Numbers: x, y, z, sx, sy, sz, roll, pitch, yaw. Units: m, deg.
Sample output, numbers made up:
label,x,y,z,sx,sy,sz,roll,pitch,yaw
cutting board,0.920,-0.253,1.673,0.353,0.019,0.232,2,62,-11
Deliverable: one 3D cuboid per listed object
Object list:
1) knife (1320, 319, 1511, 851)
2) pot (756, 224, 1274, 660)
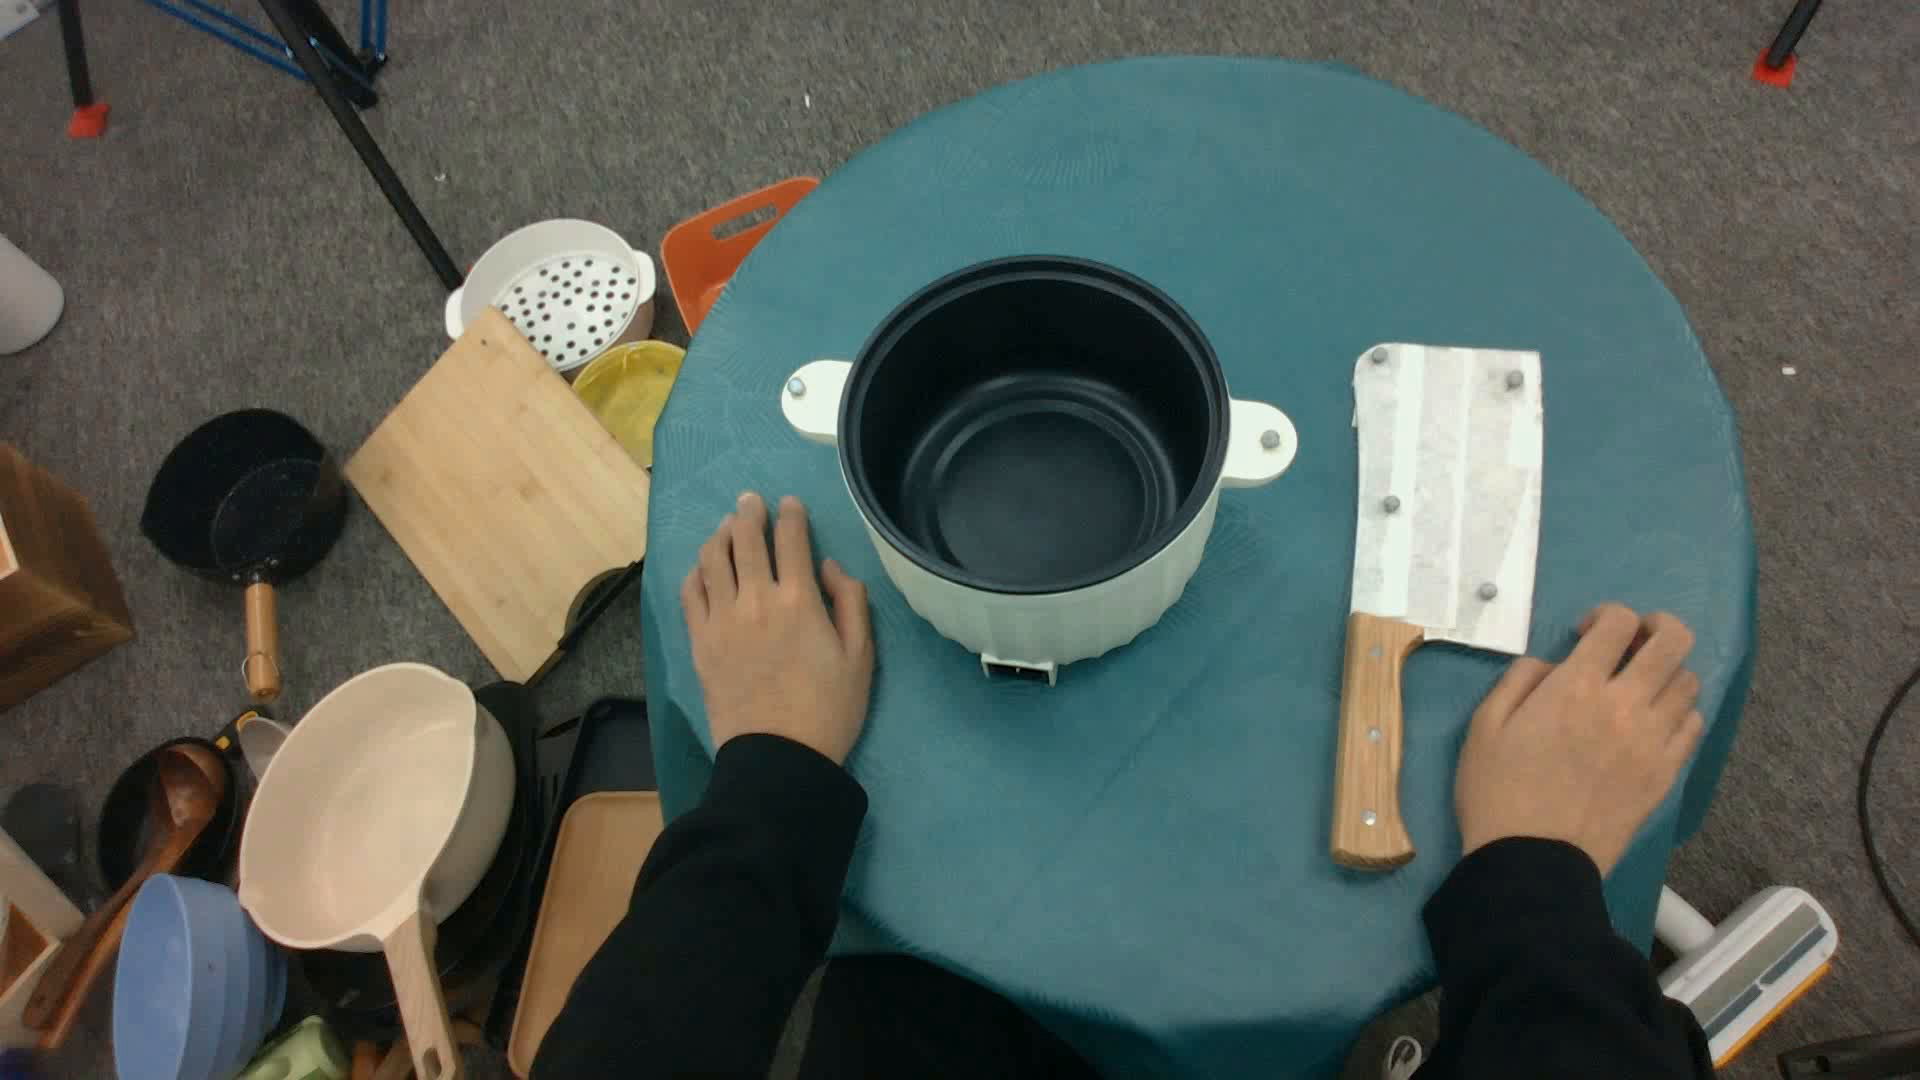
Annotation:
label,x,y,z,sx,sy,sz,roll,pitch,yaw
knife,0.226,0.008,0.713,0.114,0.021,0.316,12,65,10
pot,0.028,-0.049,0.691,0.240,0.142,0.191,7,70,7
